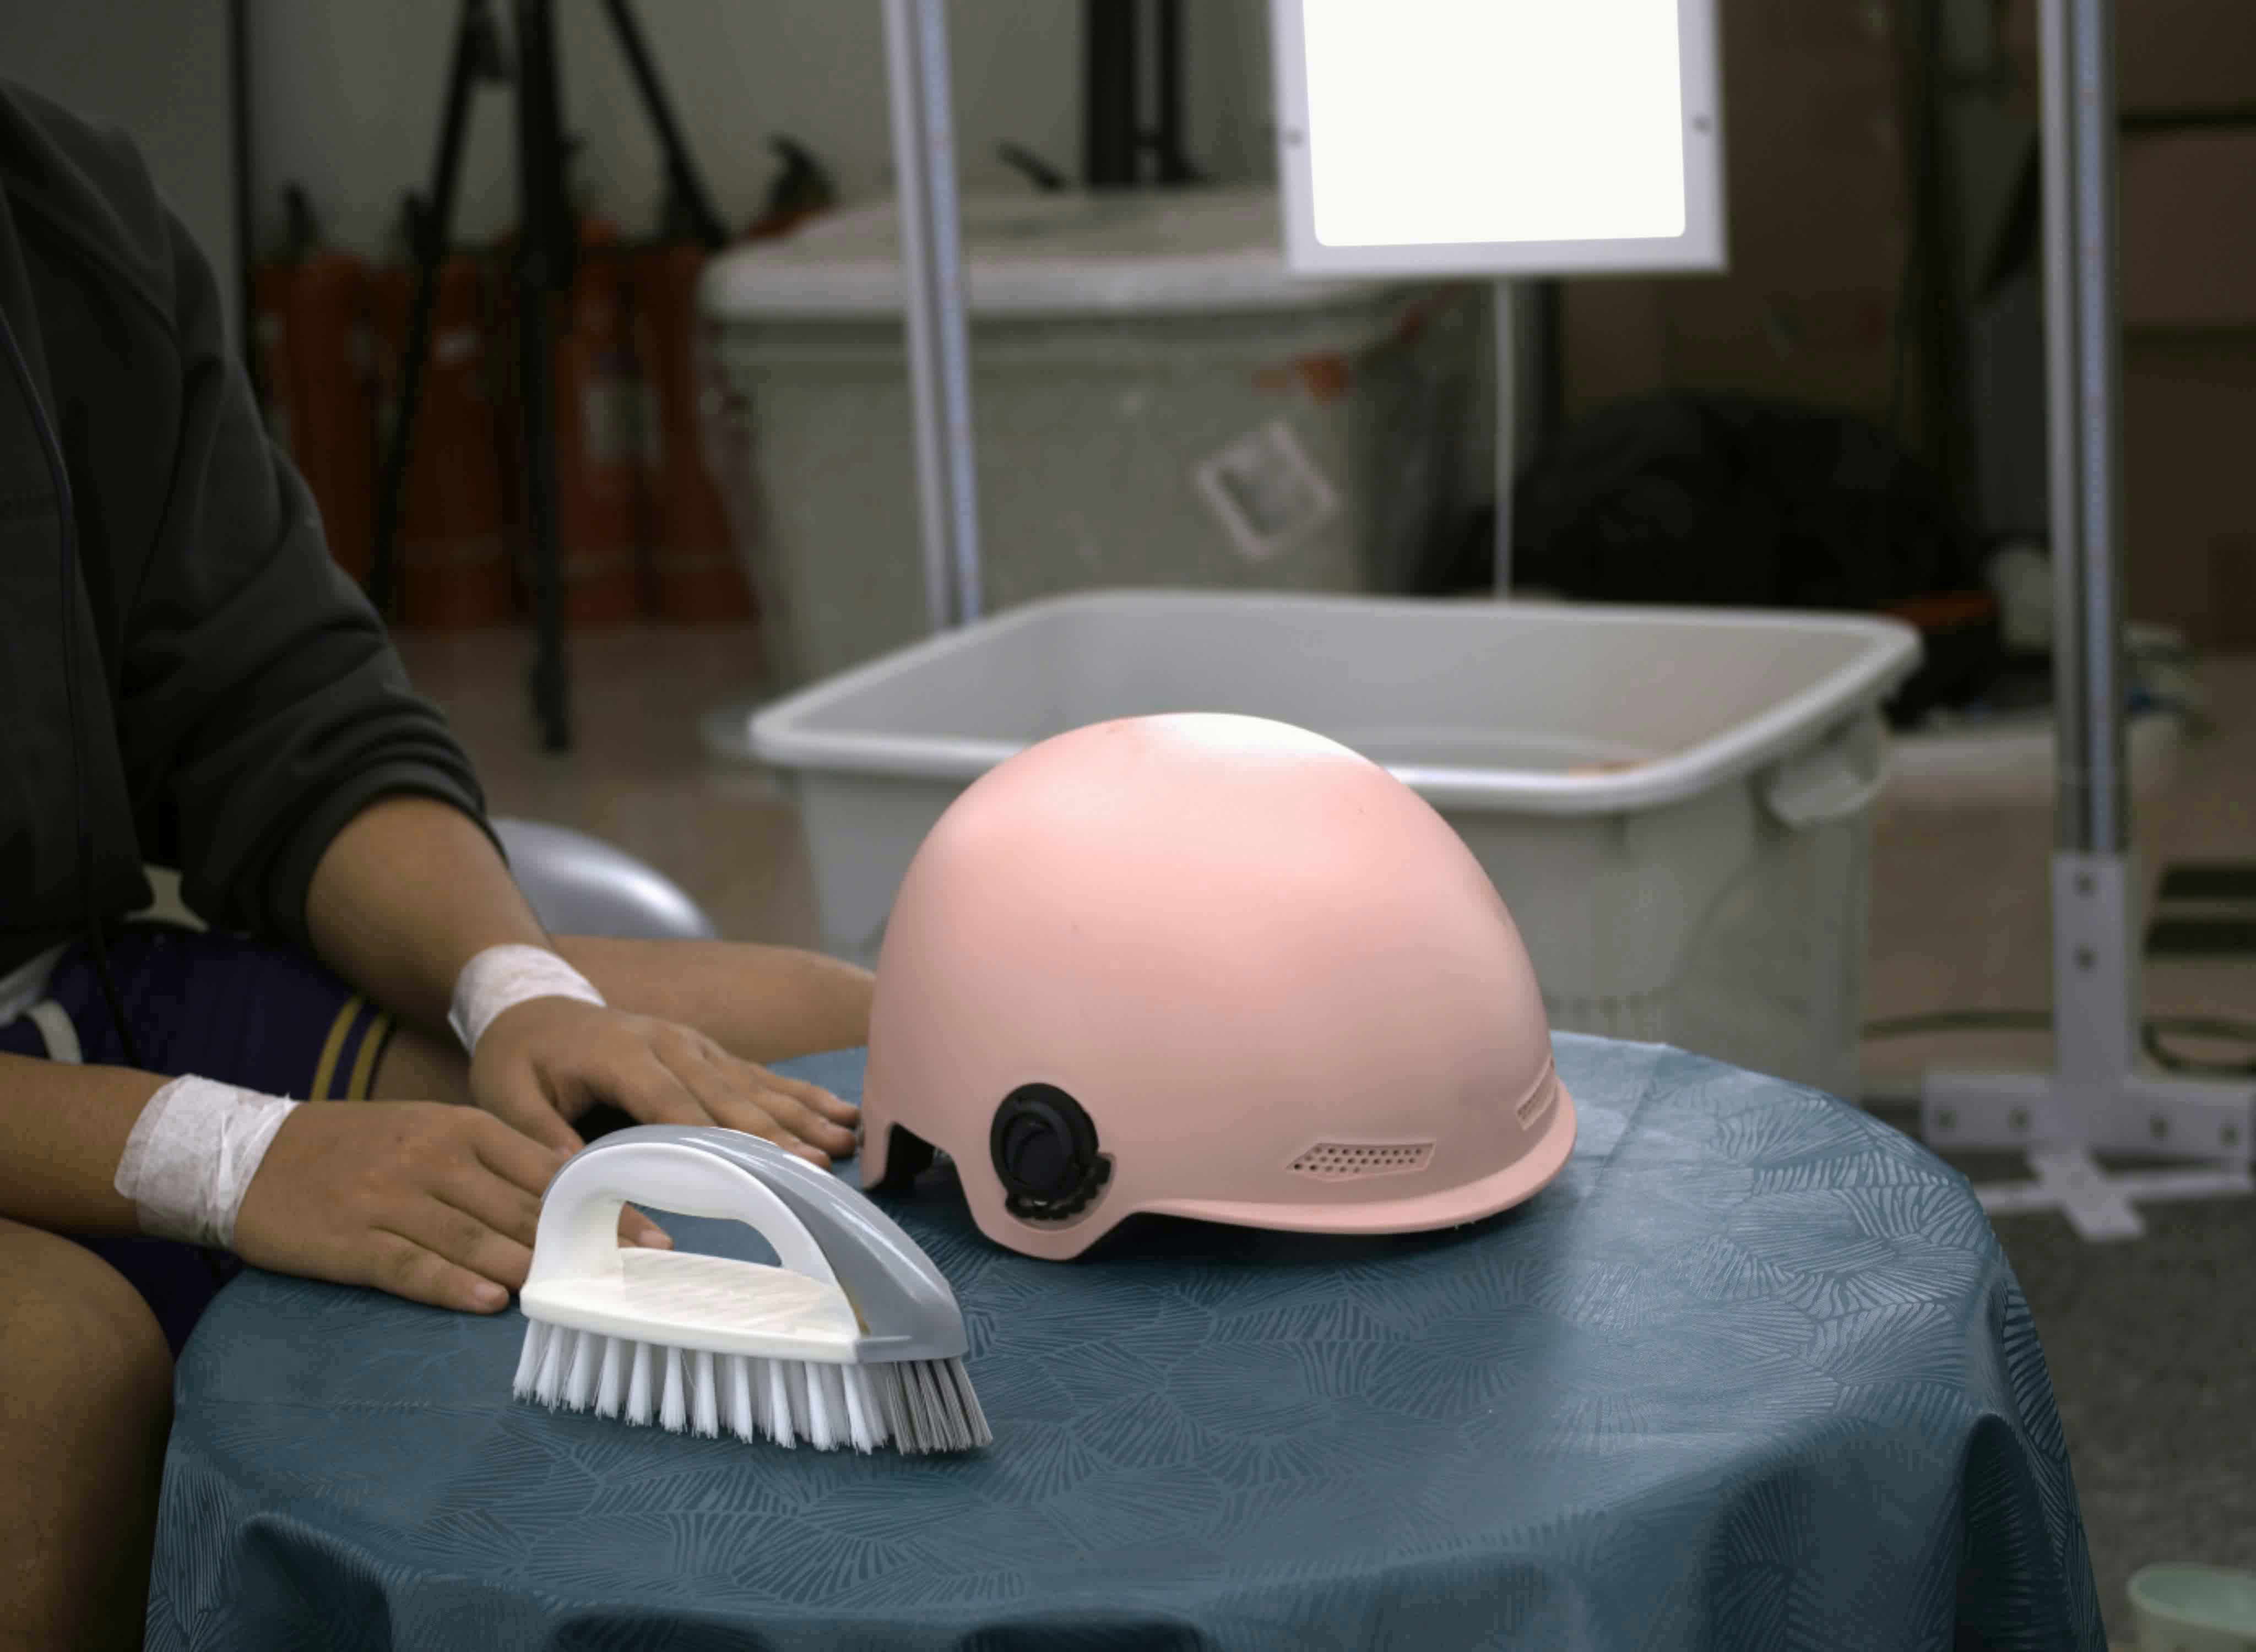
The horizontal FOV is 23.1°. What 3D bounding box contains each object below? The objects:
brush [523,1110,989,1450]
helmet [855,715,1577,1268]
[{"bbox_3d":[-0.114,0.137,1.702,0.179,0.094,0.060,9,20,39],"label":"brush"},{"bbox_3d":[0.029,0.046,1.897,0.228,0.159,0.271,-16,21,-41],"label":"helmet"}]
